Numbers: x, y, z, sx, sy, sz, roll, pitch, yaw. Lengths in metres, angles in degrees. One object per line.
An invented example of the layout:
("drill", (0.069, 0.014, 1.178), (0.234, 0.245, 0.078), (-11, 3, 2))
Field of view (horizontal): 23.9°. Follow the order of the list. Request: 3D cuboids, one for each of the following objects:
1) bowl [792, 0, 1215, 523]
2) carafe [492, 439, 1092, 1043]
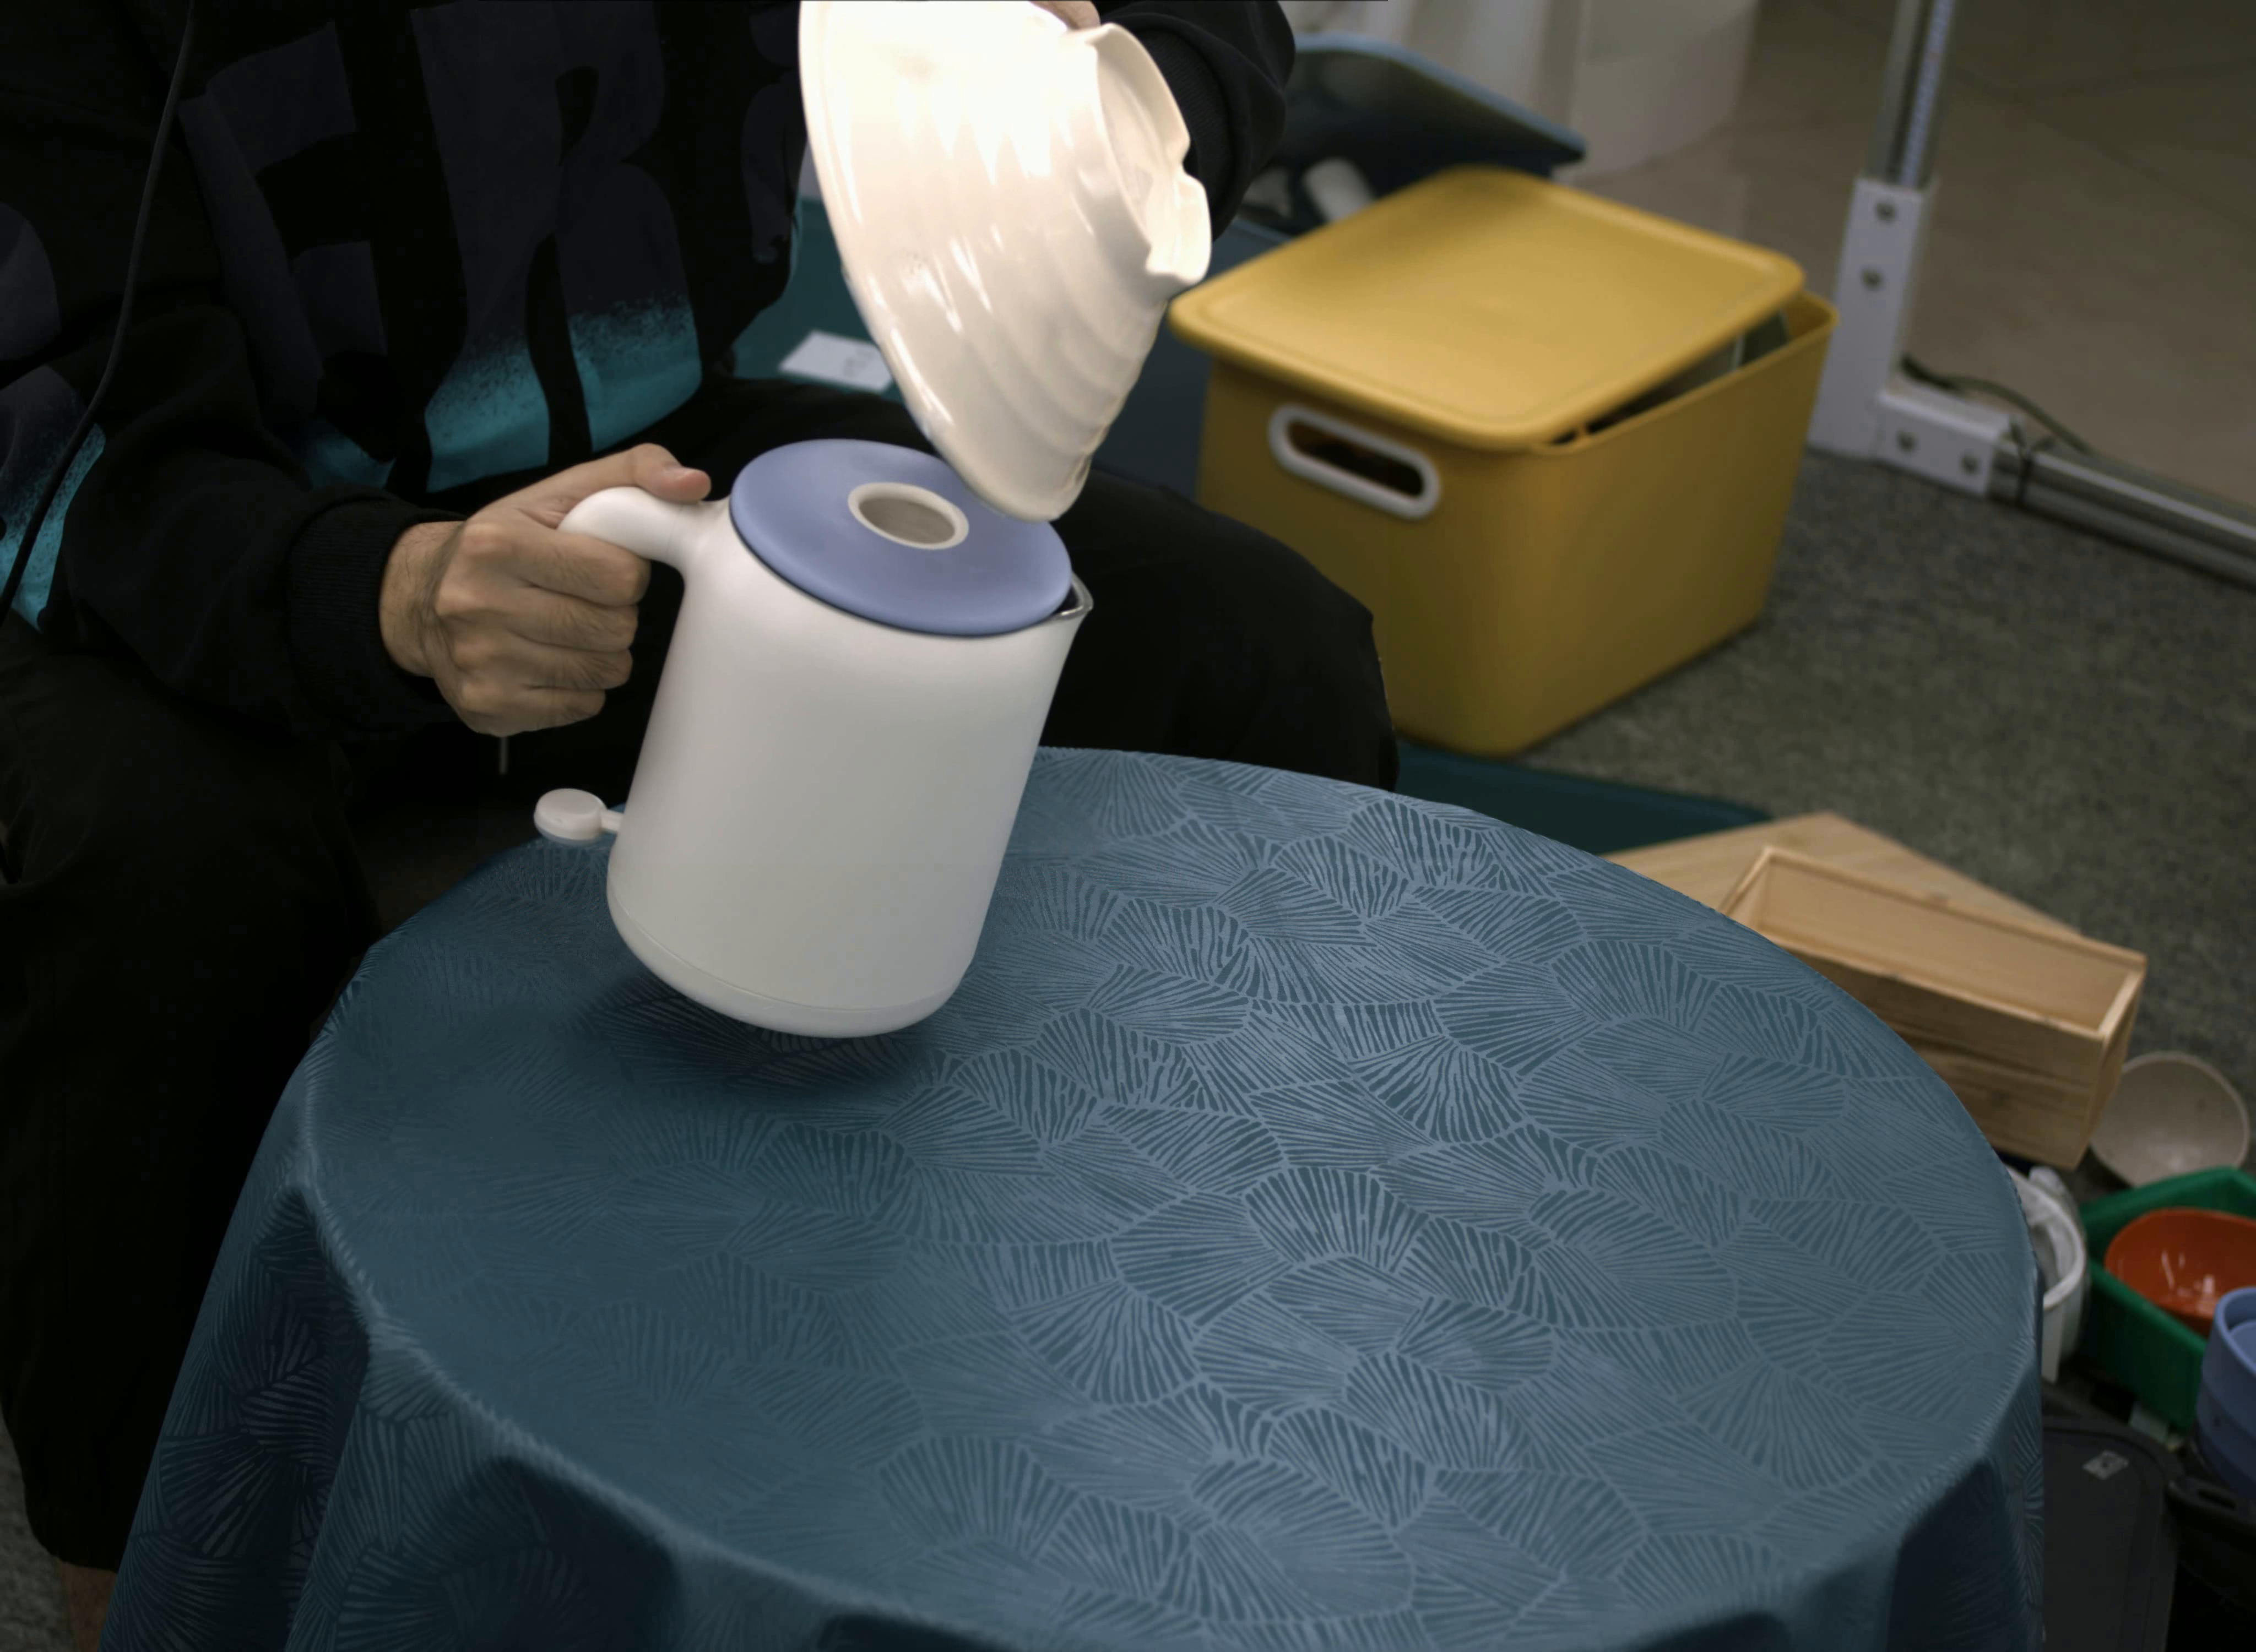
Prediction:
("bowl", (-0.025, -0.206, 1.714), (0.078, 0.203, 0.204), (-16, 18, 23))
("carafe", (-0.121, -0.036, 1.821), (0.190, 0.182, 0.133), (15, 28, 1))
